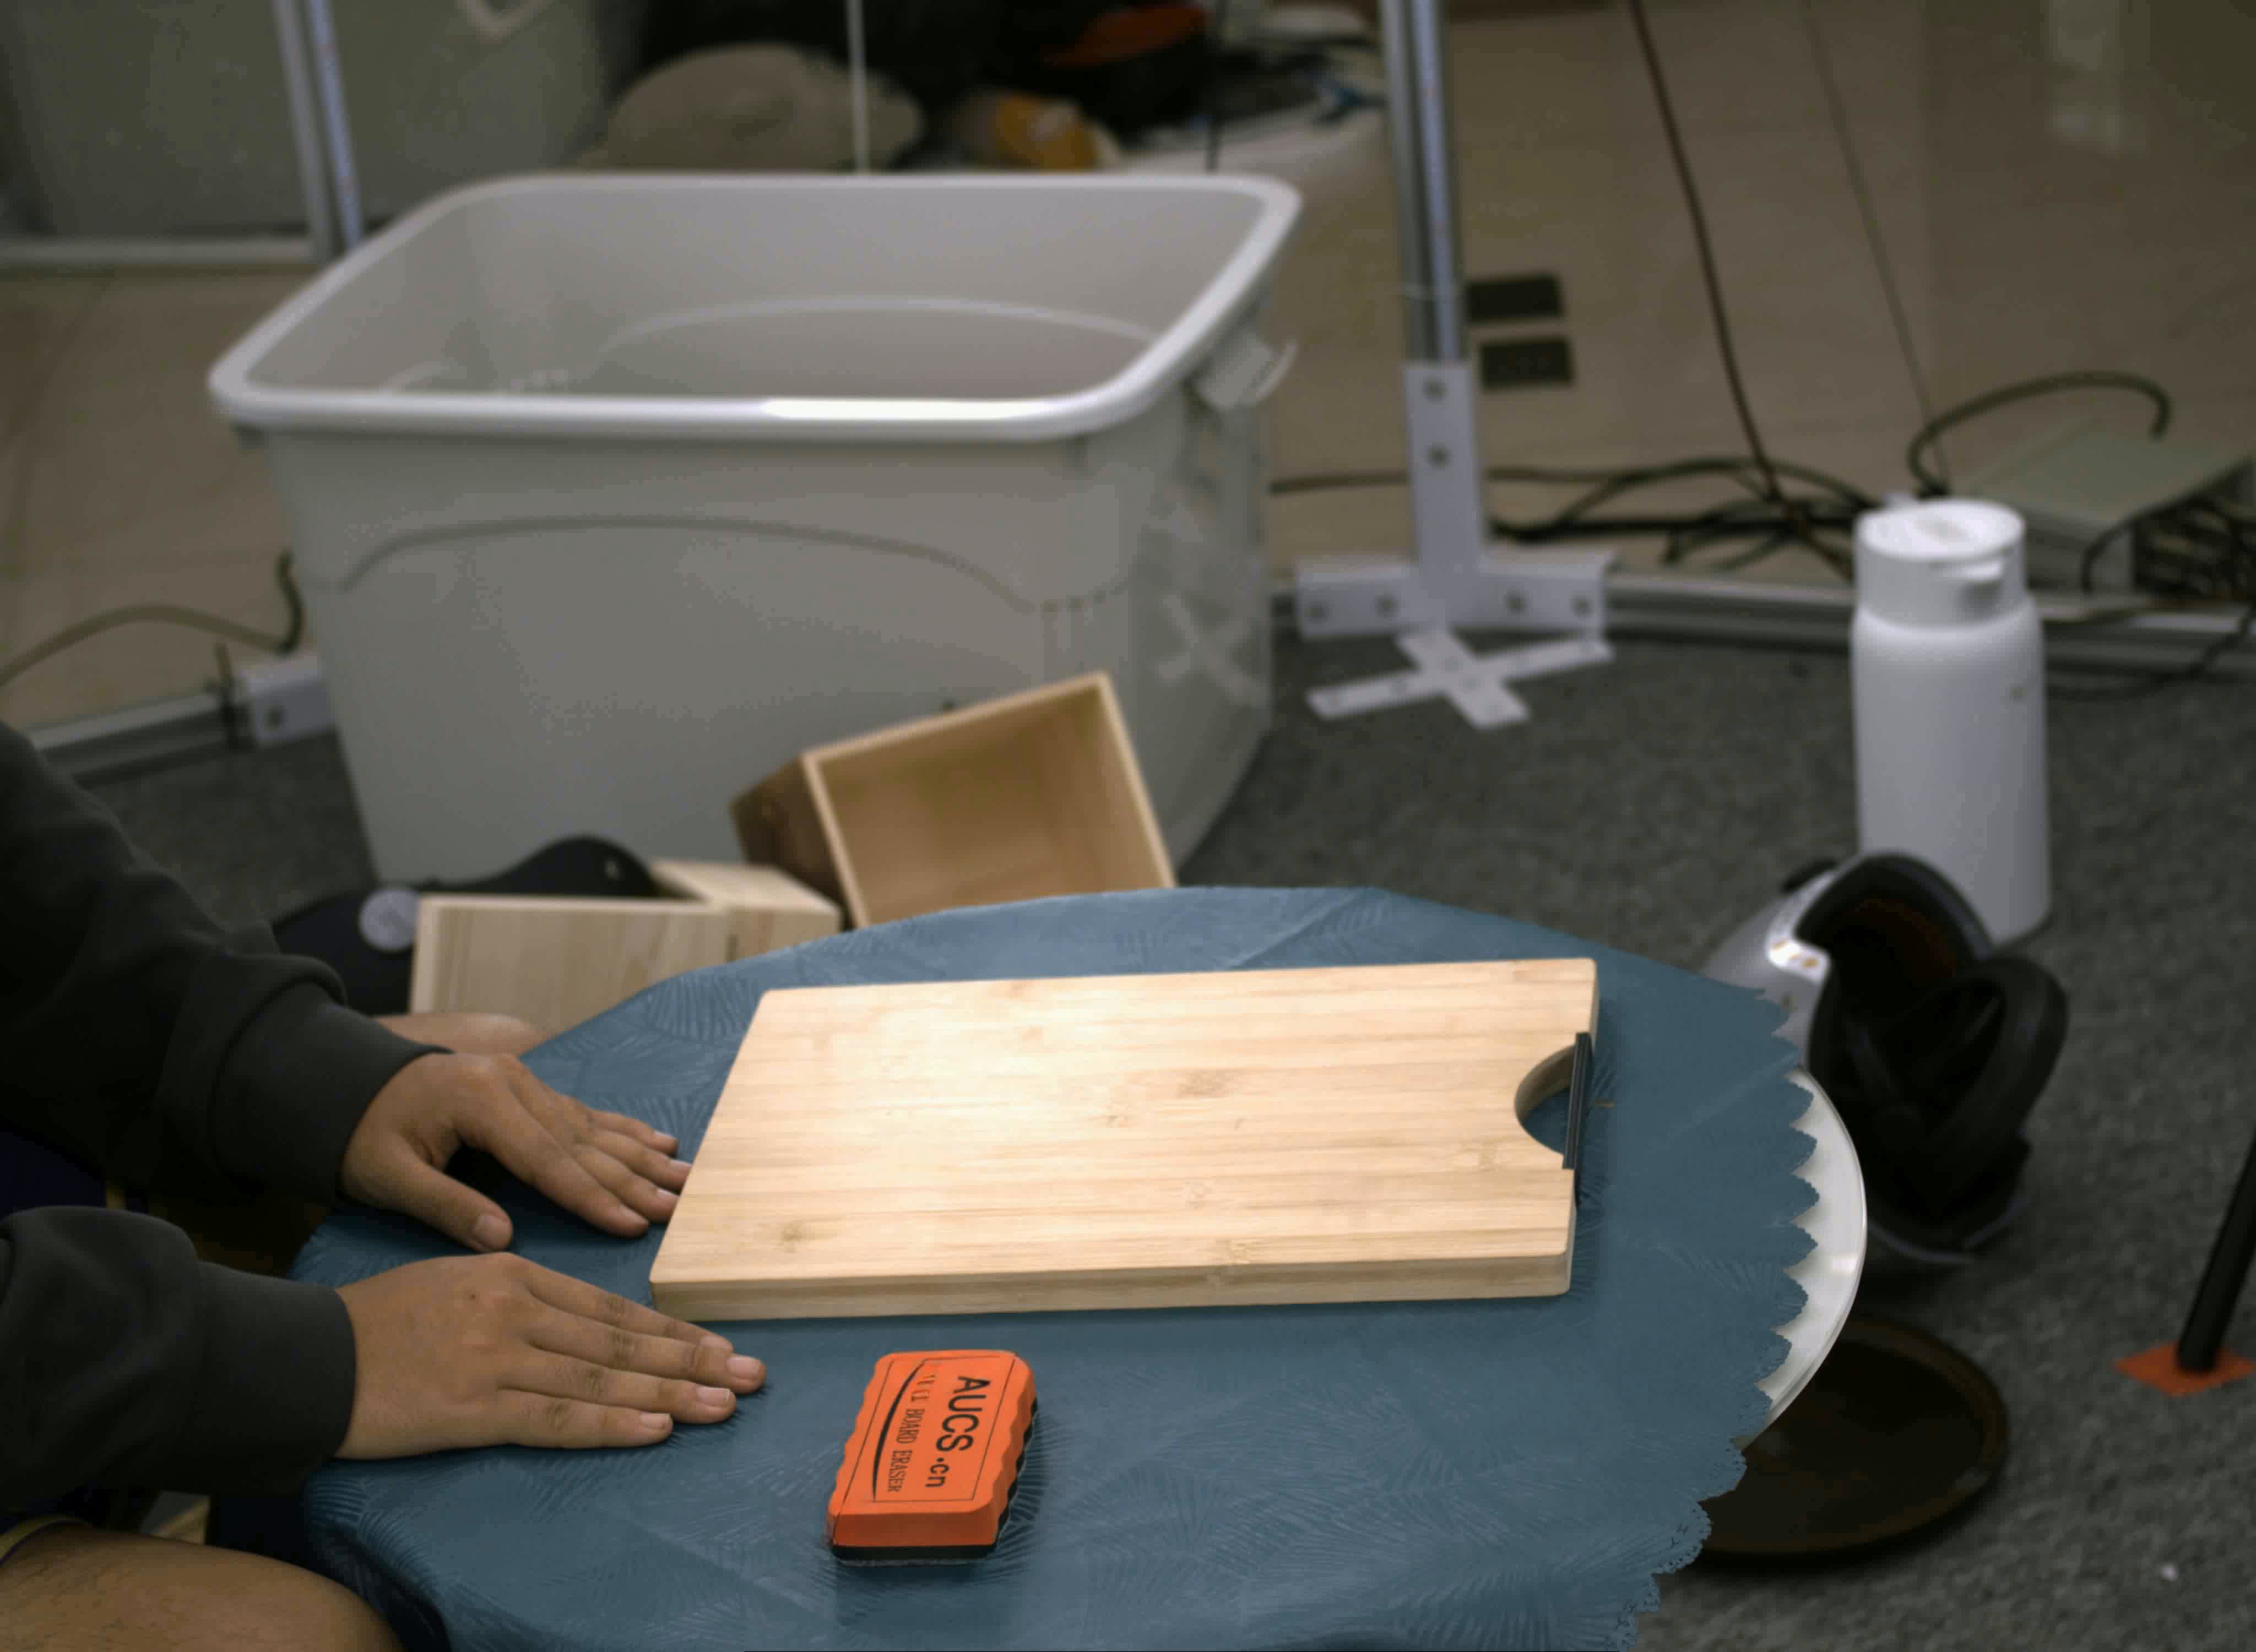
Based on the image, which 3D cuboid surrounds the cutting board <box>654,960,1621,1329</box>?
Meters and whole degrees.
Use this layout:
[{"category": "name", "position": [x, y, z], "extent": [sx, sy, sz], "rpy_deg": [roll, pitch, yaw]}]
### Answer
[{"category": "cutting board", "position": [0.010, 0.119, 2.169], "extent": [0.348, 0.024, 0.247], "rpy_deg": [-3, 25, 8]}]

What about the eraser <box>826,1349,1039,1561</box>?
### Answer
[{"category": "eraser", "position": [-0.067, 0.217, 1.966], "extent": [0.059, 0.023, 0.106], "rpy_deg": [-1, 25, 10]}]
